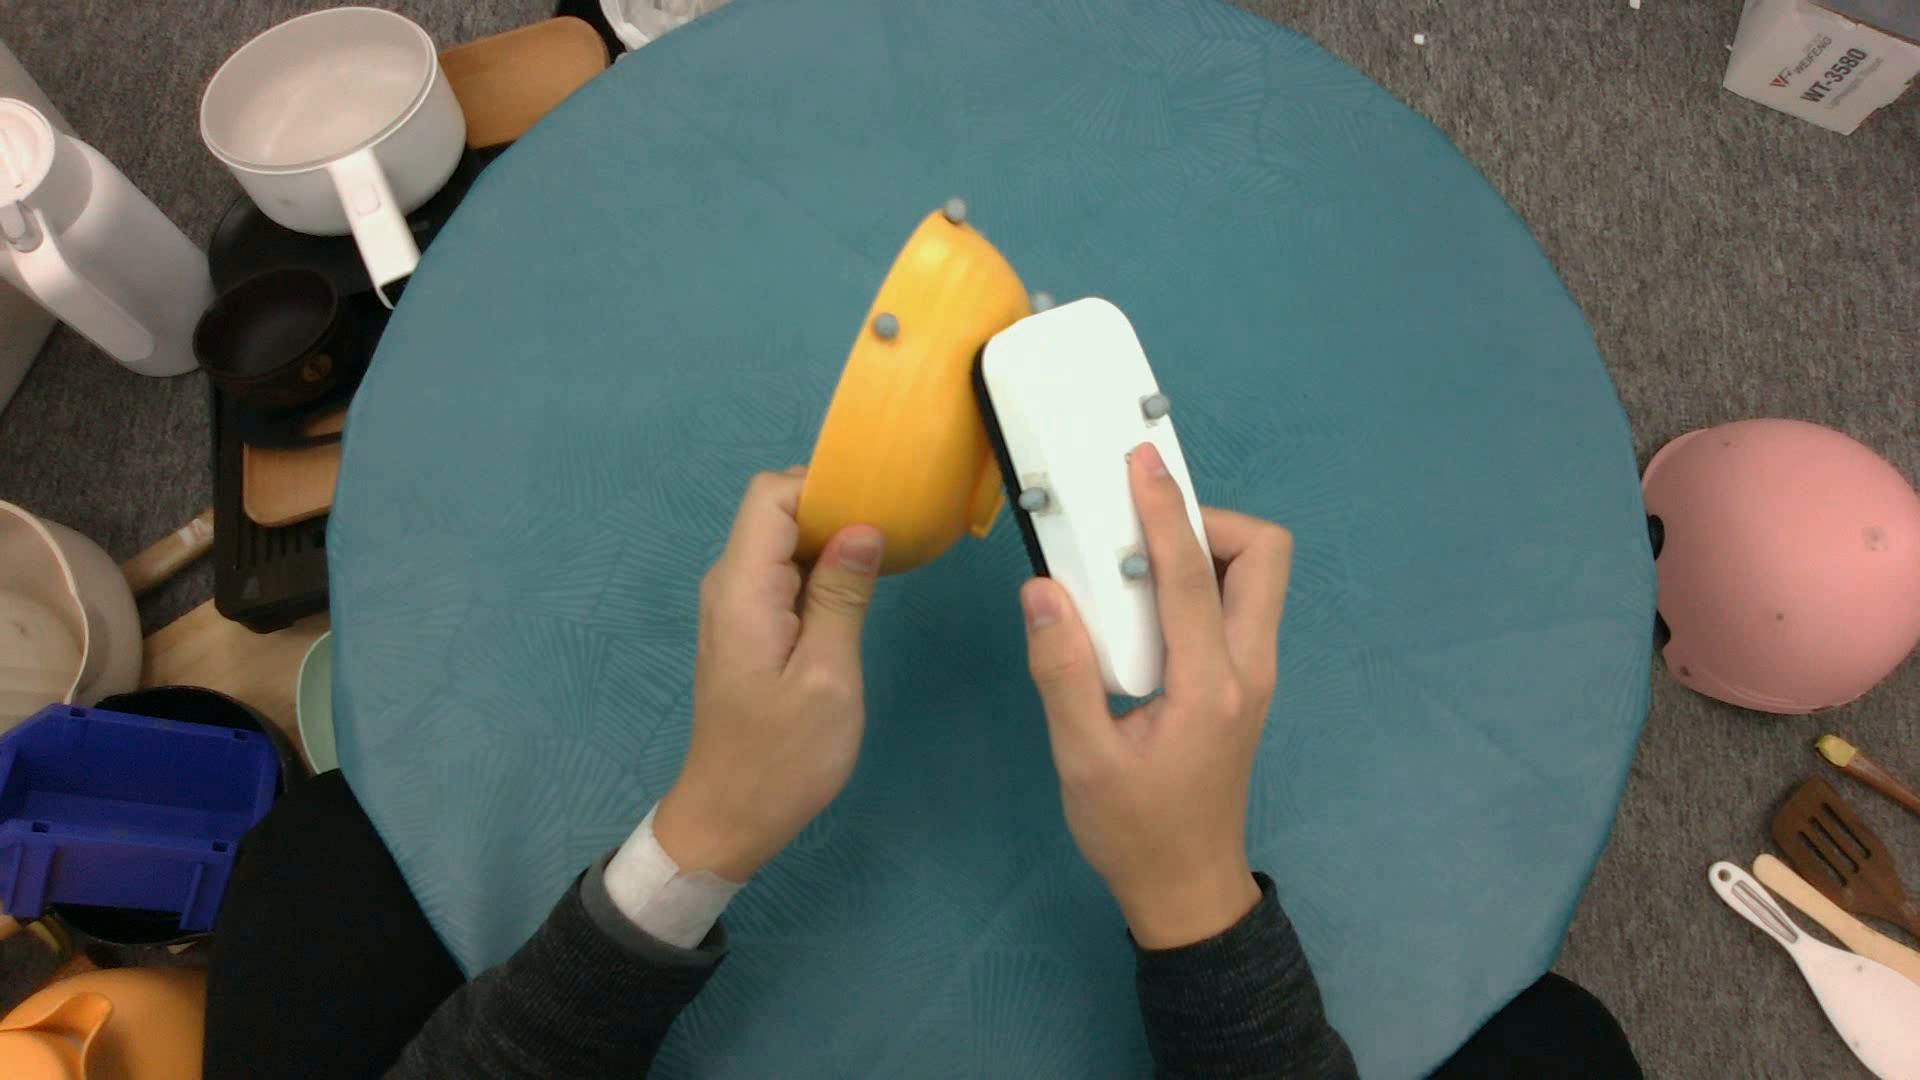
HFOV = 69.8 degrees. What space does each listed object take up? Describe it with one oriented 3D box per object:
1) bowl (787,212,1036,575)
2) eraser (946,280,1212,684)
[{"bbox_3d":[-0.004,-0.043,0.510,0.060,0.145,0.146,26,73,3],"label":"bowl"},{"bbox_3d":[0.041,-0.019,0.458,0.063,0.034,0.131,-26,99,-39],"label":"eraser"}]
